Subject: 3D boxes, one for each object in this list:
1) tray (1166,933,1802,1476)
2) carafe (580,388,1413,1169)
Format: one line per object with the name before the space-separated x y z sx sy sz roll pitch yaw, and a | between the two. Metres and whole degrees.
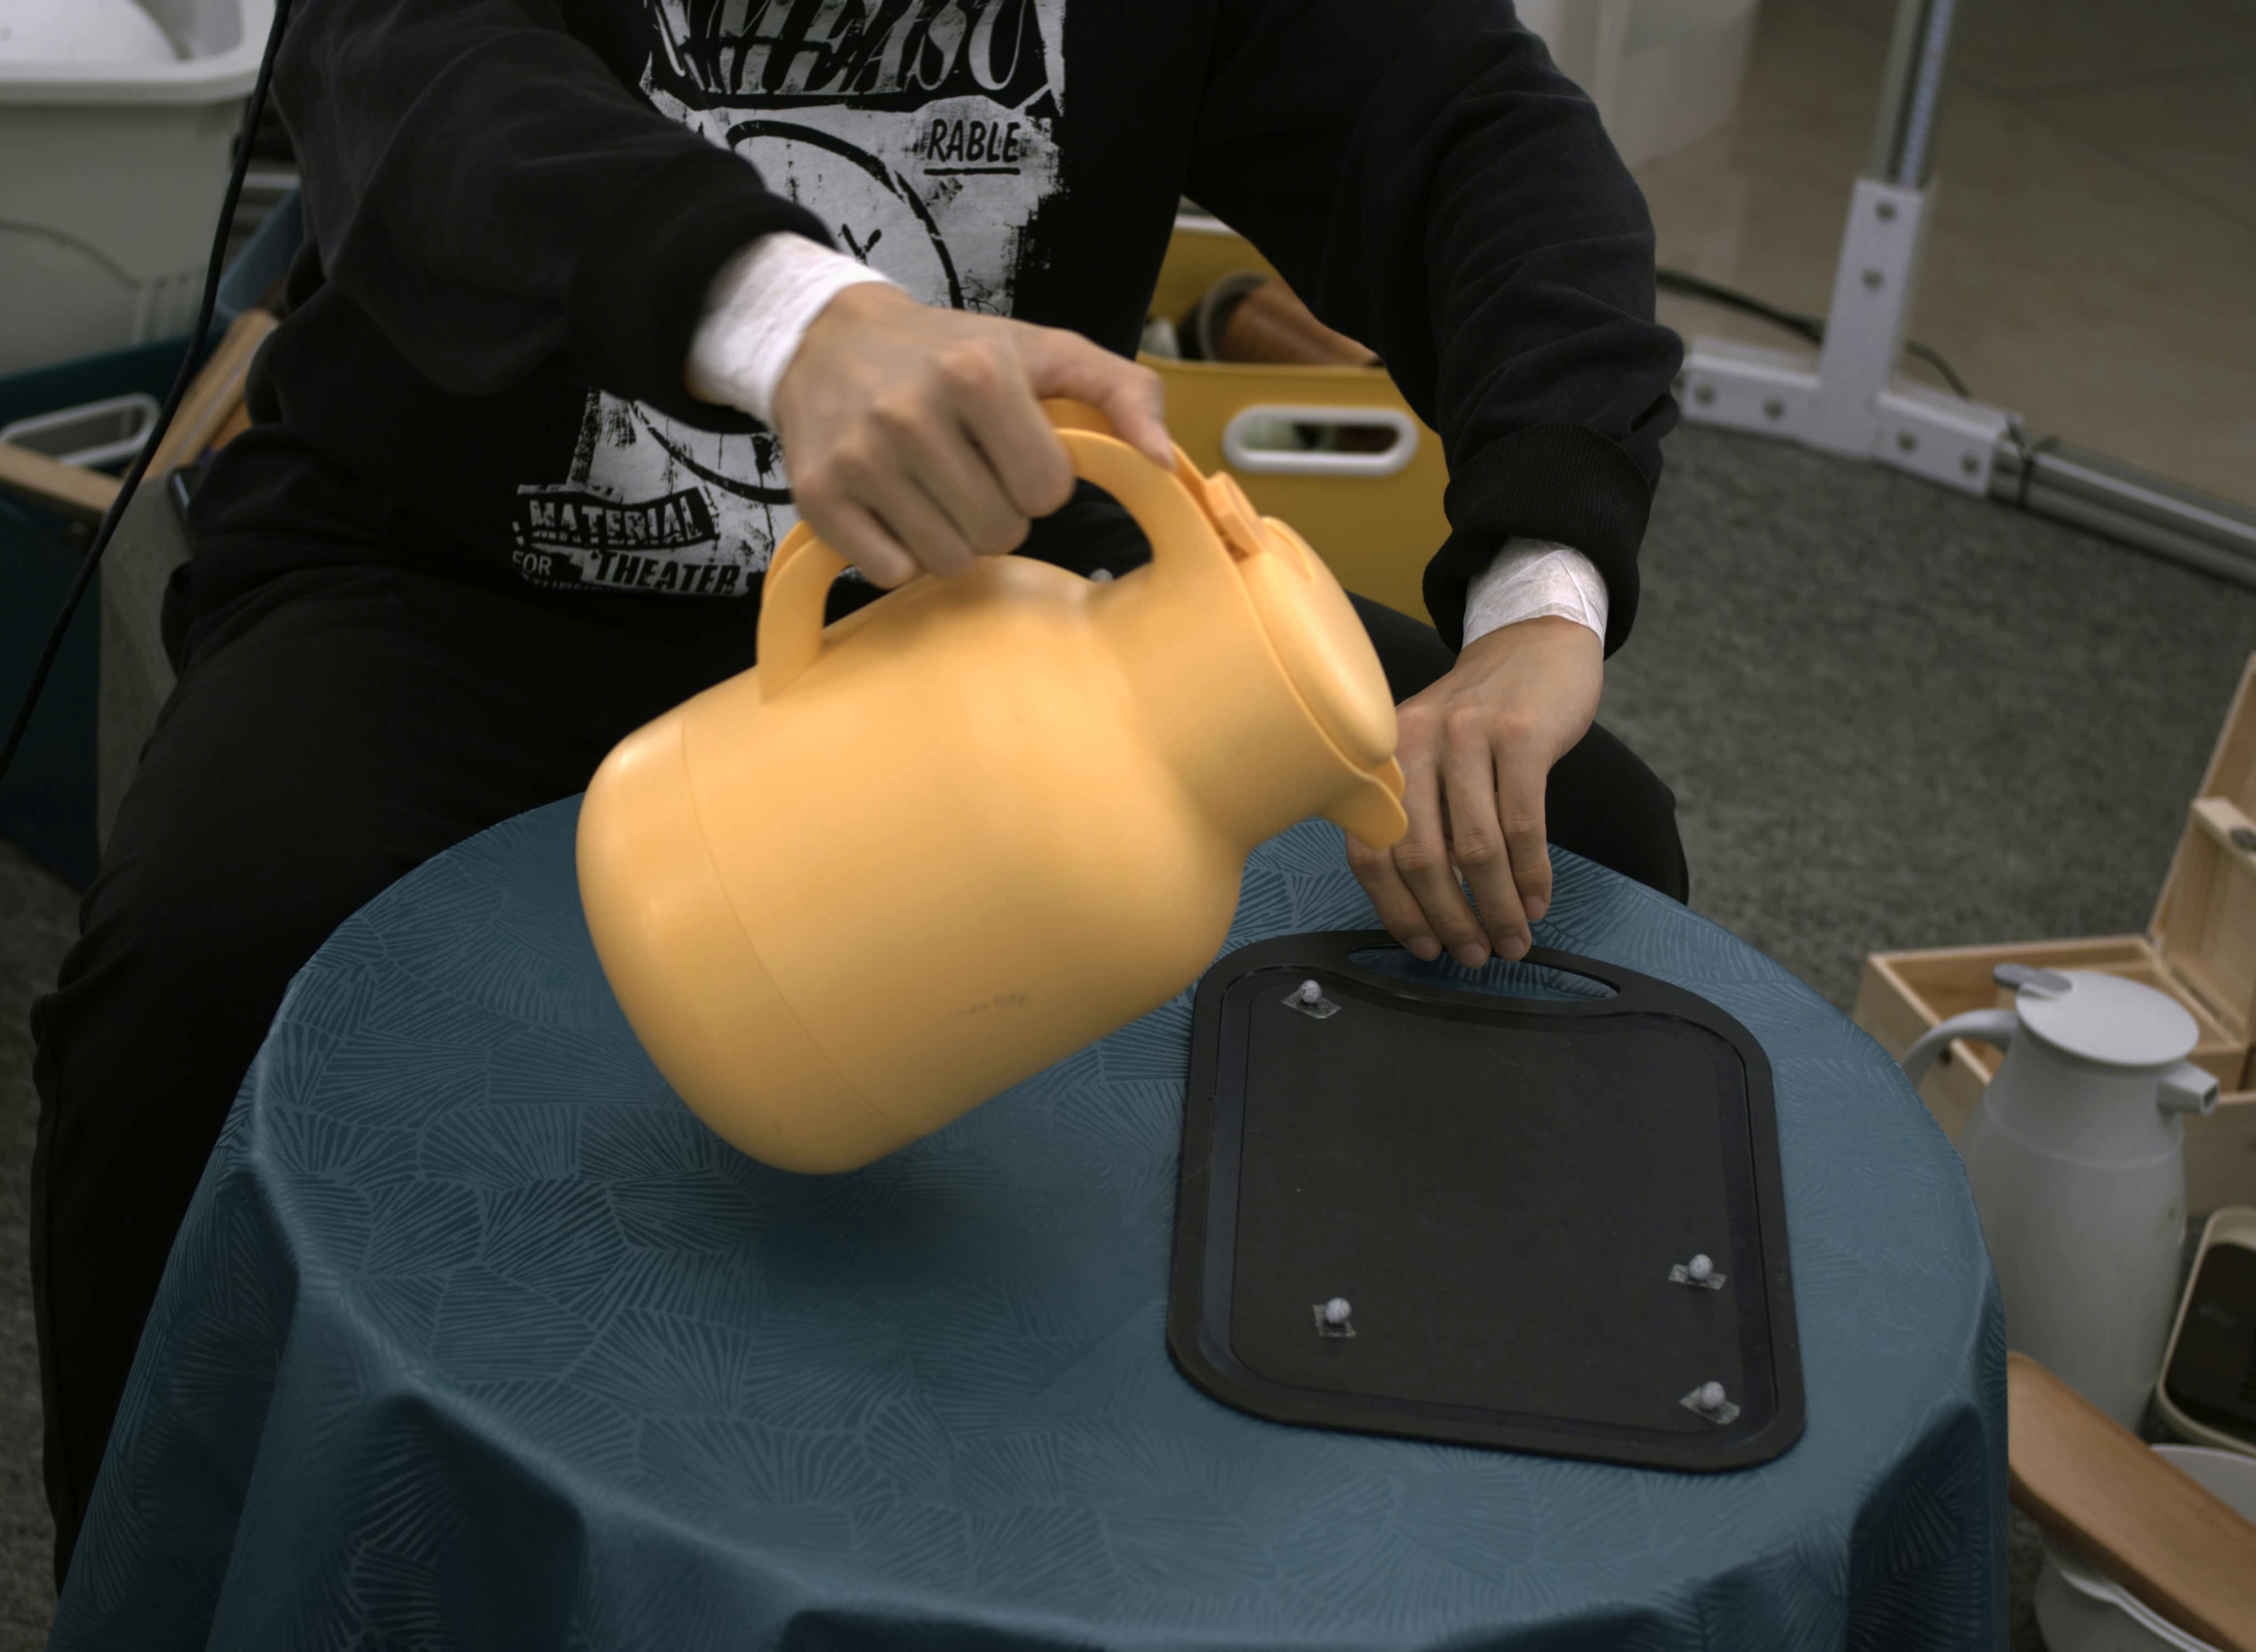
tray | 0.122 0.119 1.827 0.210 0.010 0.327 7 28 0
carafe | -0.048 -0.022 1.722 0.260 0.201 0.164 -27 21 11
